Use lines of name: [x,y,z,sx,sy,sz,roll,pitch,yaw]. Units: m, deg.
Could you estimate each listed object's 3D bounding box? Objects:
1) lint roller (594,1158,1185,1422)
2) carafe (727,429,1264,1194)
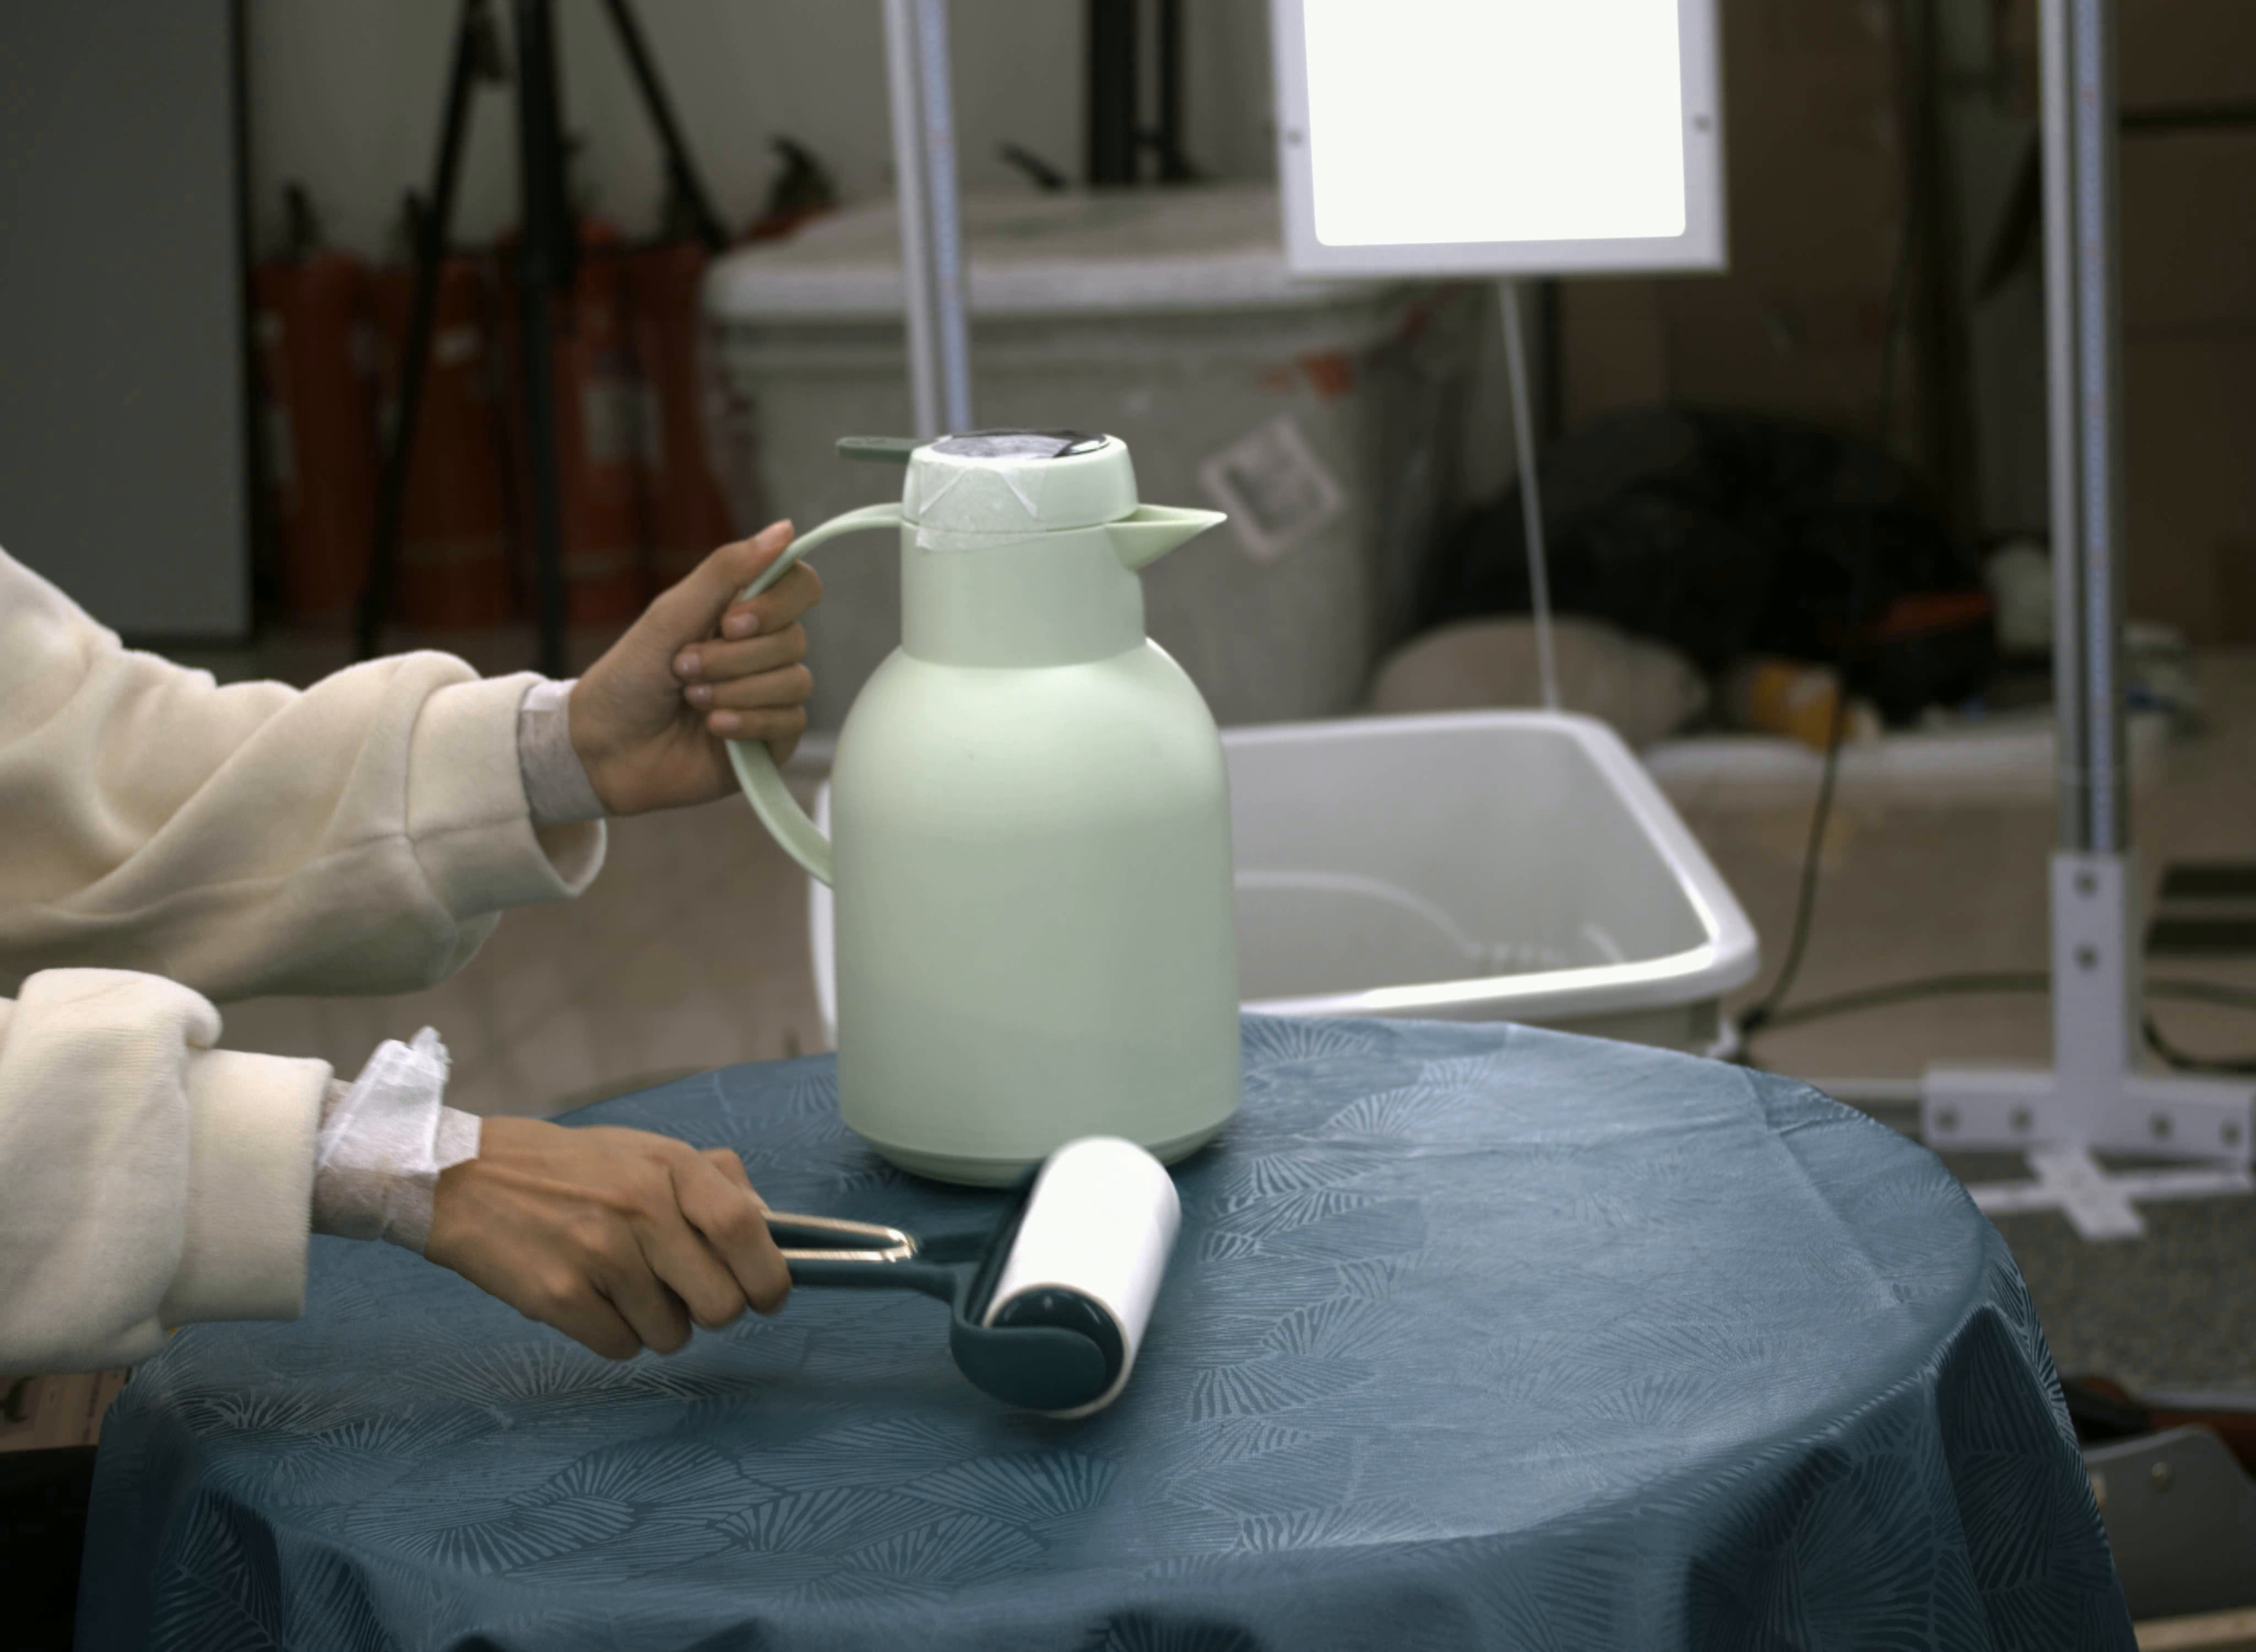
lint roller: [-0.077,0.131,1.721,0.181,0.048,0.133,11,21,9]
carafe: [-0.045,-0.009,1.936,0.189,0.257,0.142,-2,15,19]
